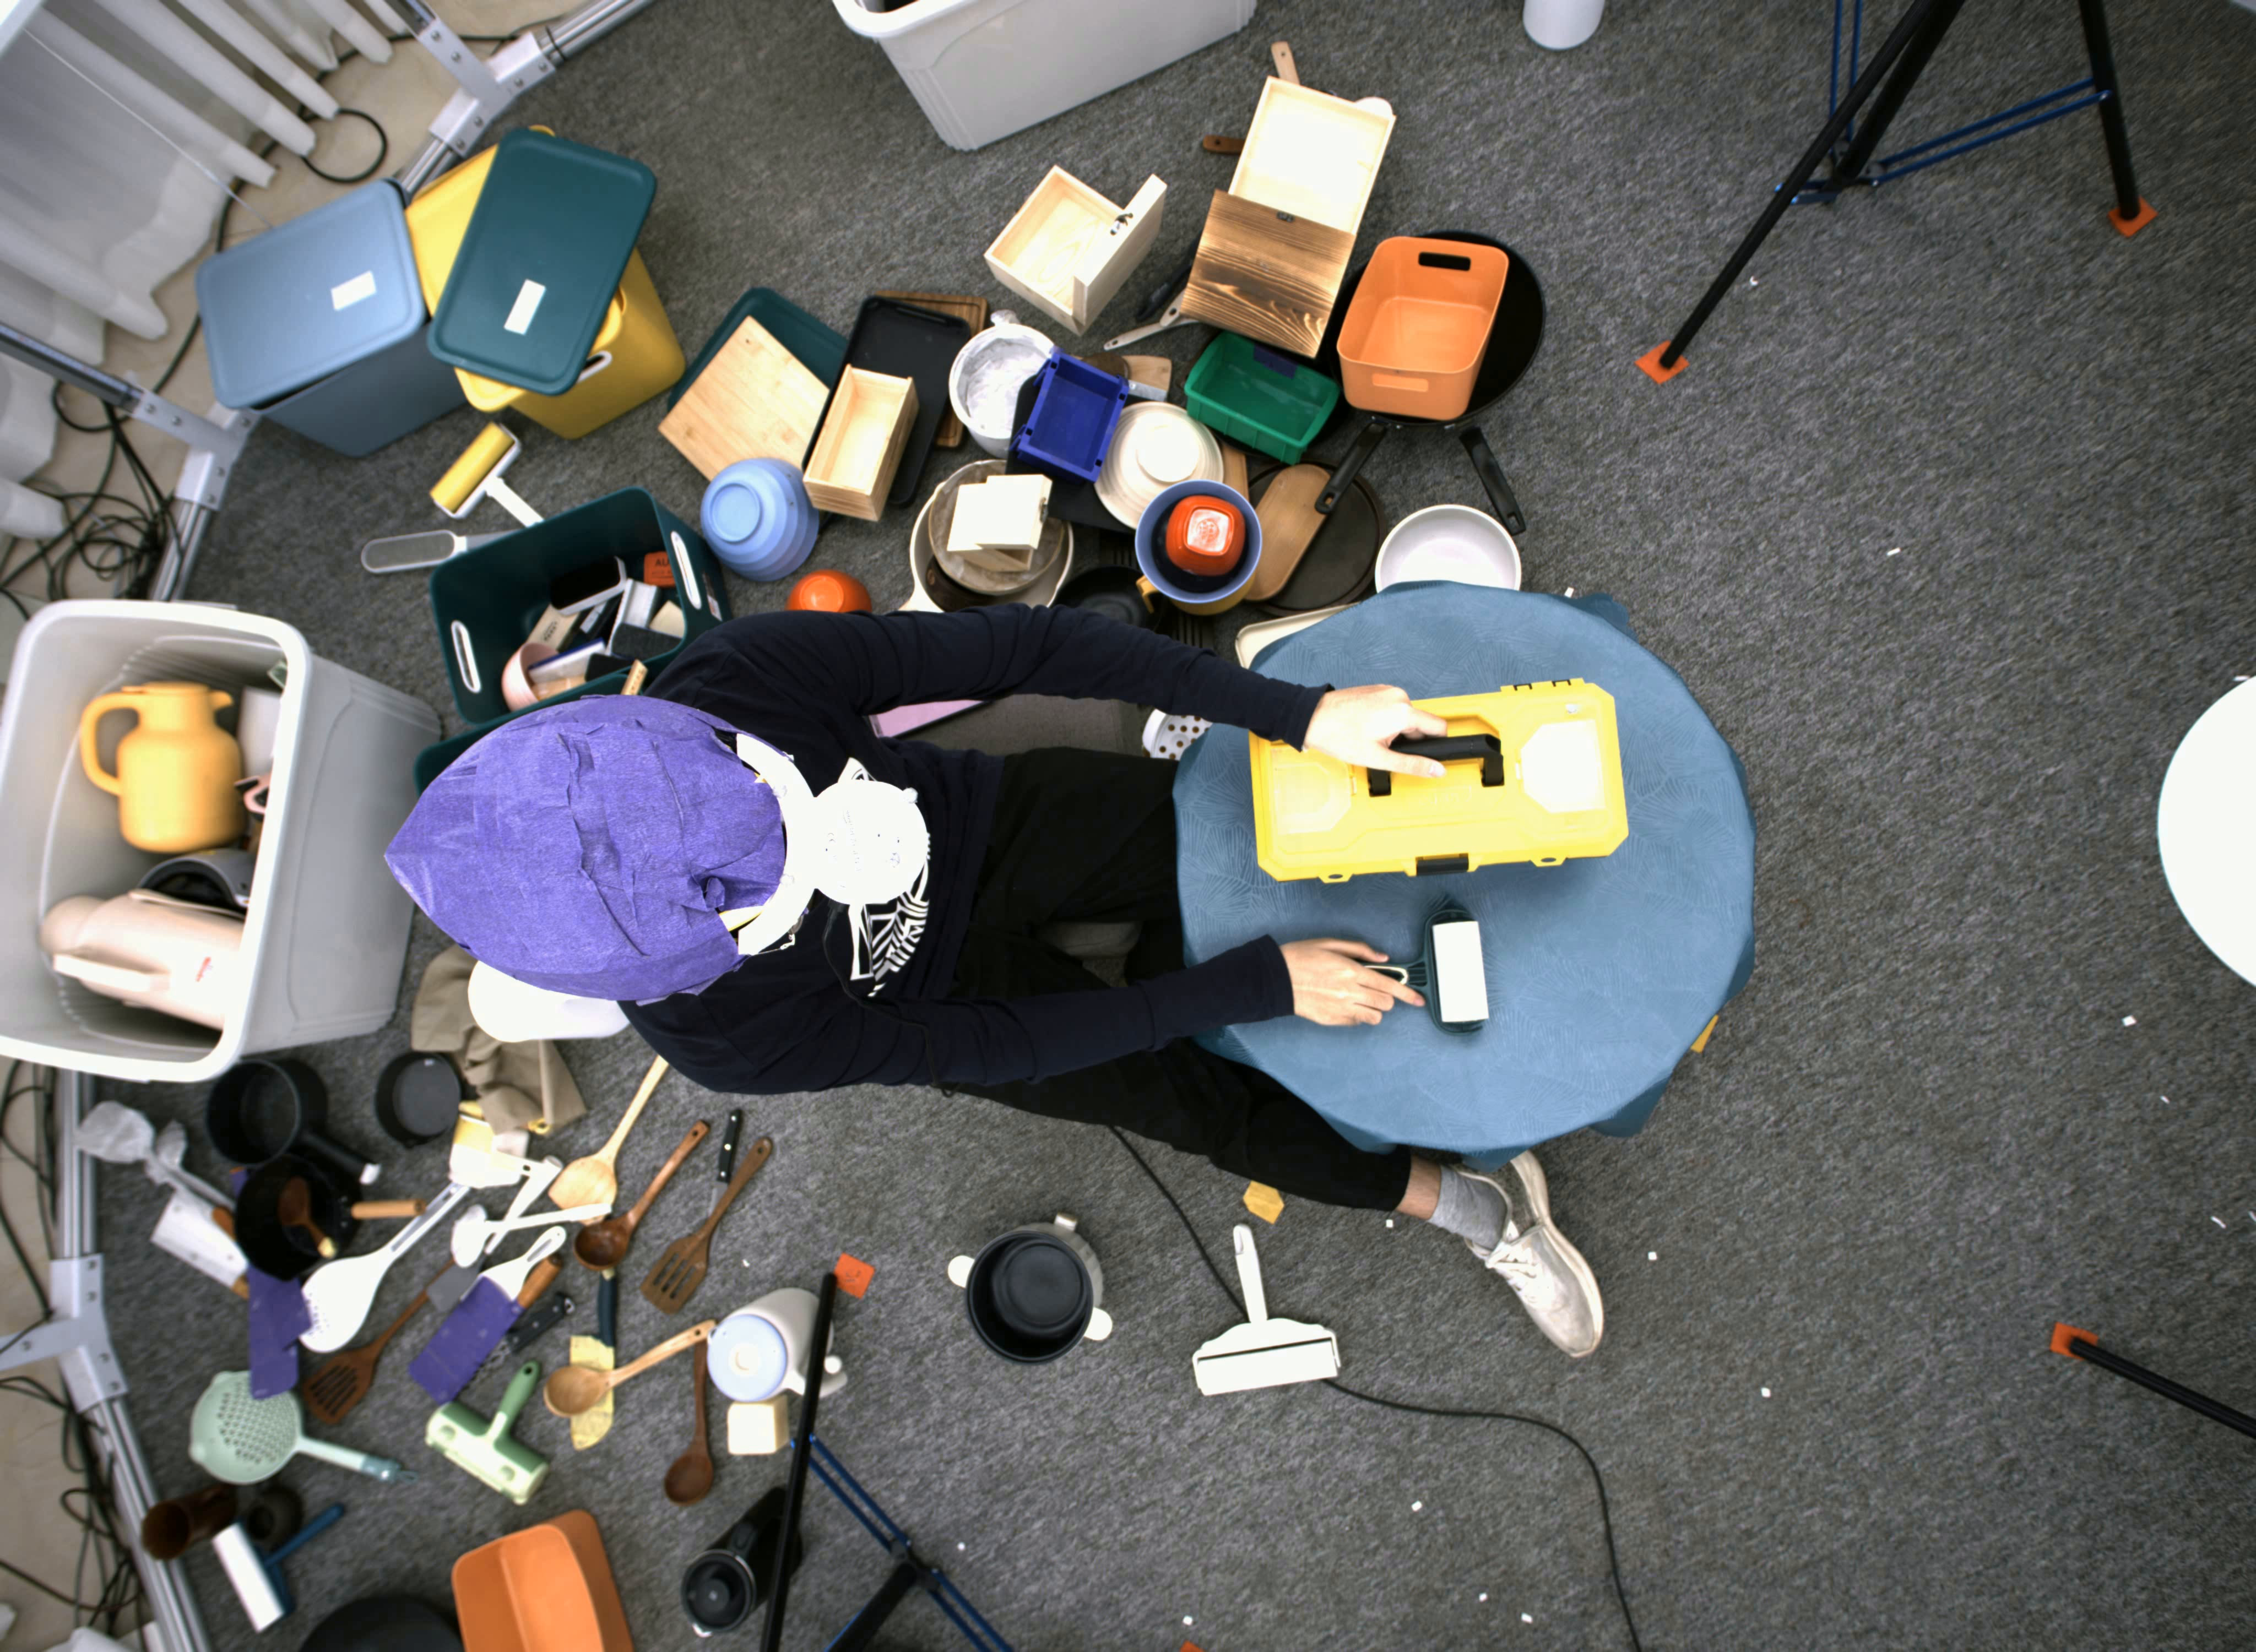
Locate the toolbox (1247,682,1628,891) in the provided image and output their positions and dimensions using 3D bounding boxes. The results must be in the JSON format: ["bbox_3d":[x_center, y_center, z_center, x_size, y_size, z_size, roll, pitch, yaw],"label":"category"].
[{"bbox_3d":[0.303,-0.035,1.372,0.353,0.173,0.180,-5,84,11],"label":"toolbox"}]

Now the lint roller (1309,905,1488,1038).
[{"bbox_3d":[0.276,0.156,1.430,0.181,0.048,0.134,-6,86,10],"label":"lint roller"}]
